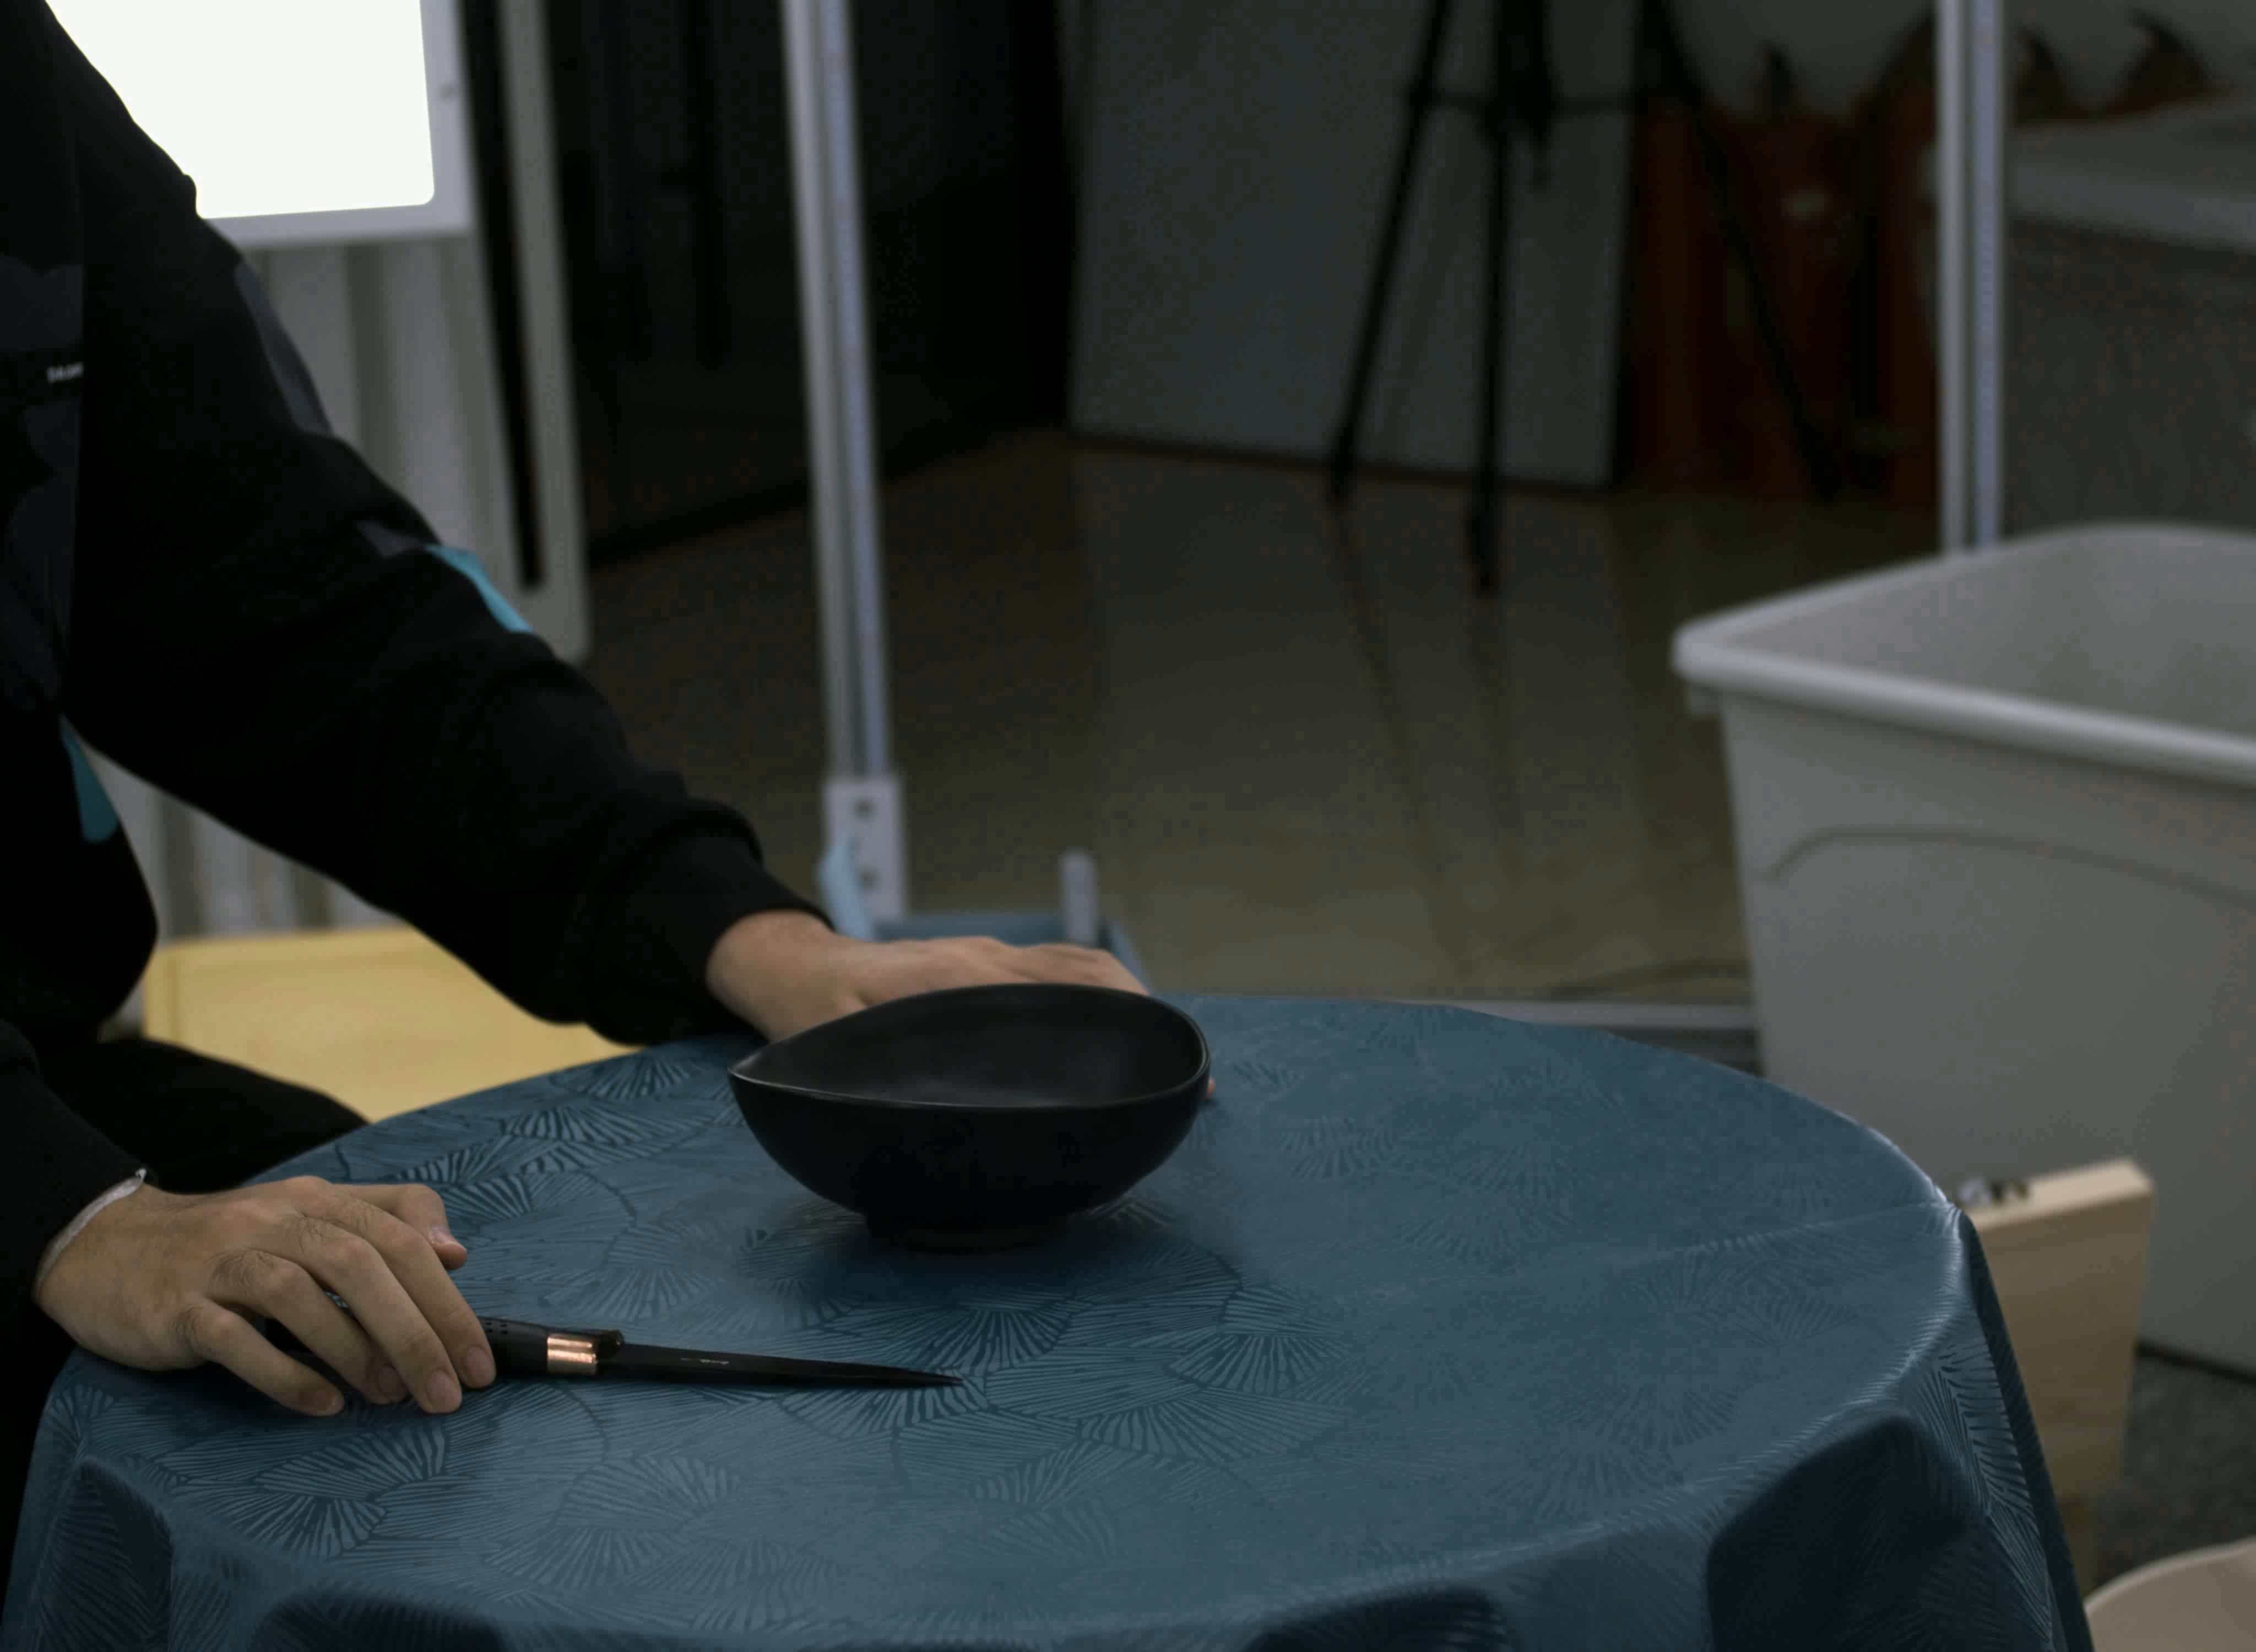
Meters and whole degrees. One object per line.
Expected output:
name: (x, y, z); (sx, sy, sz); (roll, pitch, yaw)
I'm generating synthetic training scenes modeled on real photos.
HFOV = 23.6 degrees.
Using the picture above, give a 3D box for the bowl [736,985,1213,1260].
bowl: (-0.049, 0.099, 1.739); (0.171, 0.067, 0.135); (2, 14, 34)

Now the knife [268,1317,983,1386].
knife: (-0.153, 0.160, 1.635); (0.224, 0.017, 0.026); (1, 17, 15)
